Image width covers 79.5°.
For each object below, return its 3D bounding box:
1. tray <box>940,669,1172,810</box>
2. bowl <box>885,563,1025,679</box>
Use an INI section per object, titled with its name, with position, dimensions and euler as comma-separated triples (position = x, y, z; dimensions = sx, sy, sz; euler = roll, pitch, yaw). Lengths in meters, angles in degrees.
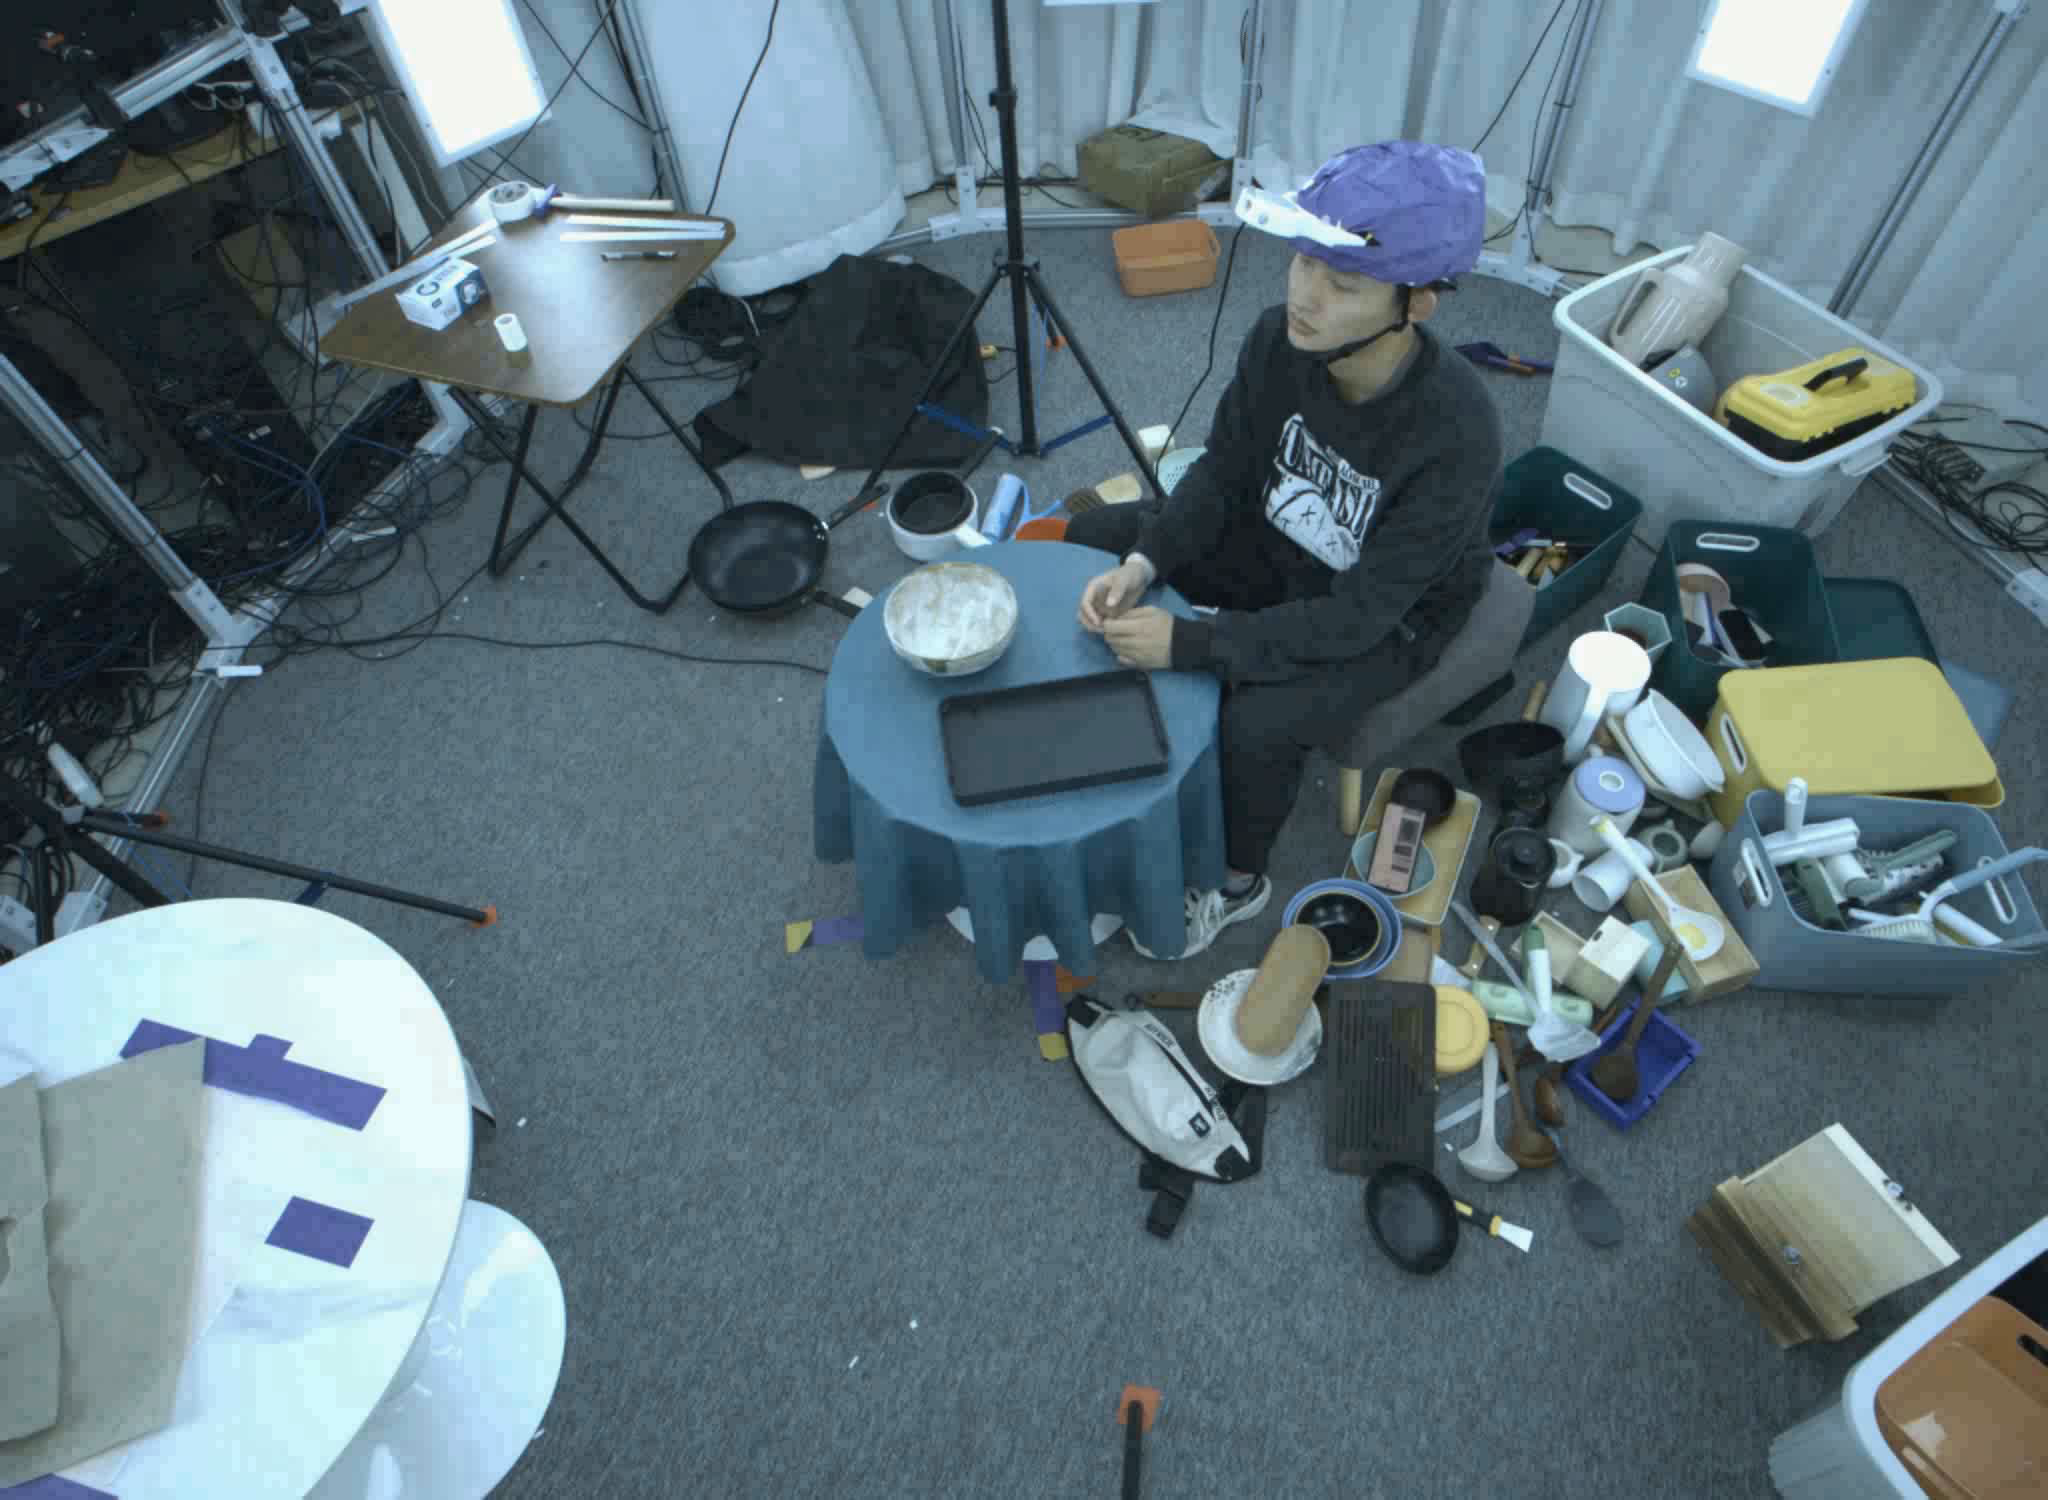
[tray]
position = 0.044, -0.017, 1.788
dimensions = 0.319, 0.037, 0.182
euler = -9, 55, -3
[bowl]
position = -0.101, -0.179, 1.870
dimensions = 0.214, 0.095, 0.212
euler = -1, 54, 2
